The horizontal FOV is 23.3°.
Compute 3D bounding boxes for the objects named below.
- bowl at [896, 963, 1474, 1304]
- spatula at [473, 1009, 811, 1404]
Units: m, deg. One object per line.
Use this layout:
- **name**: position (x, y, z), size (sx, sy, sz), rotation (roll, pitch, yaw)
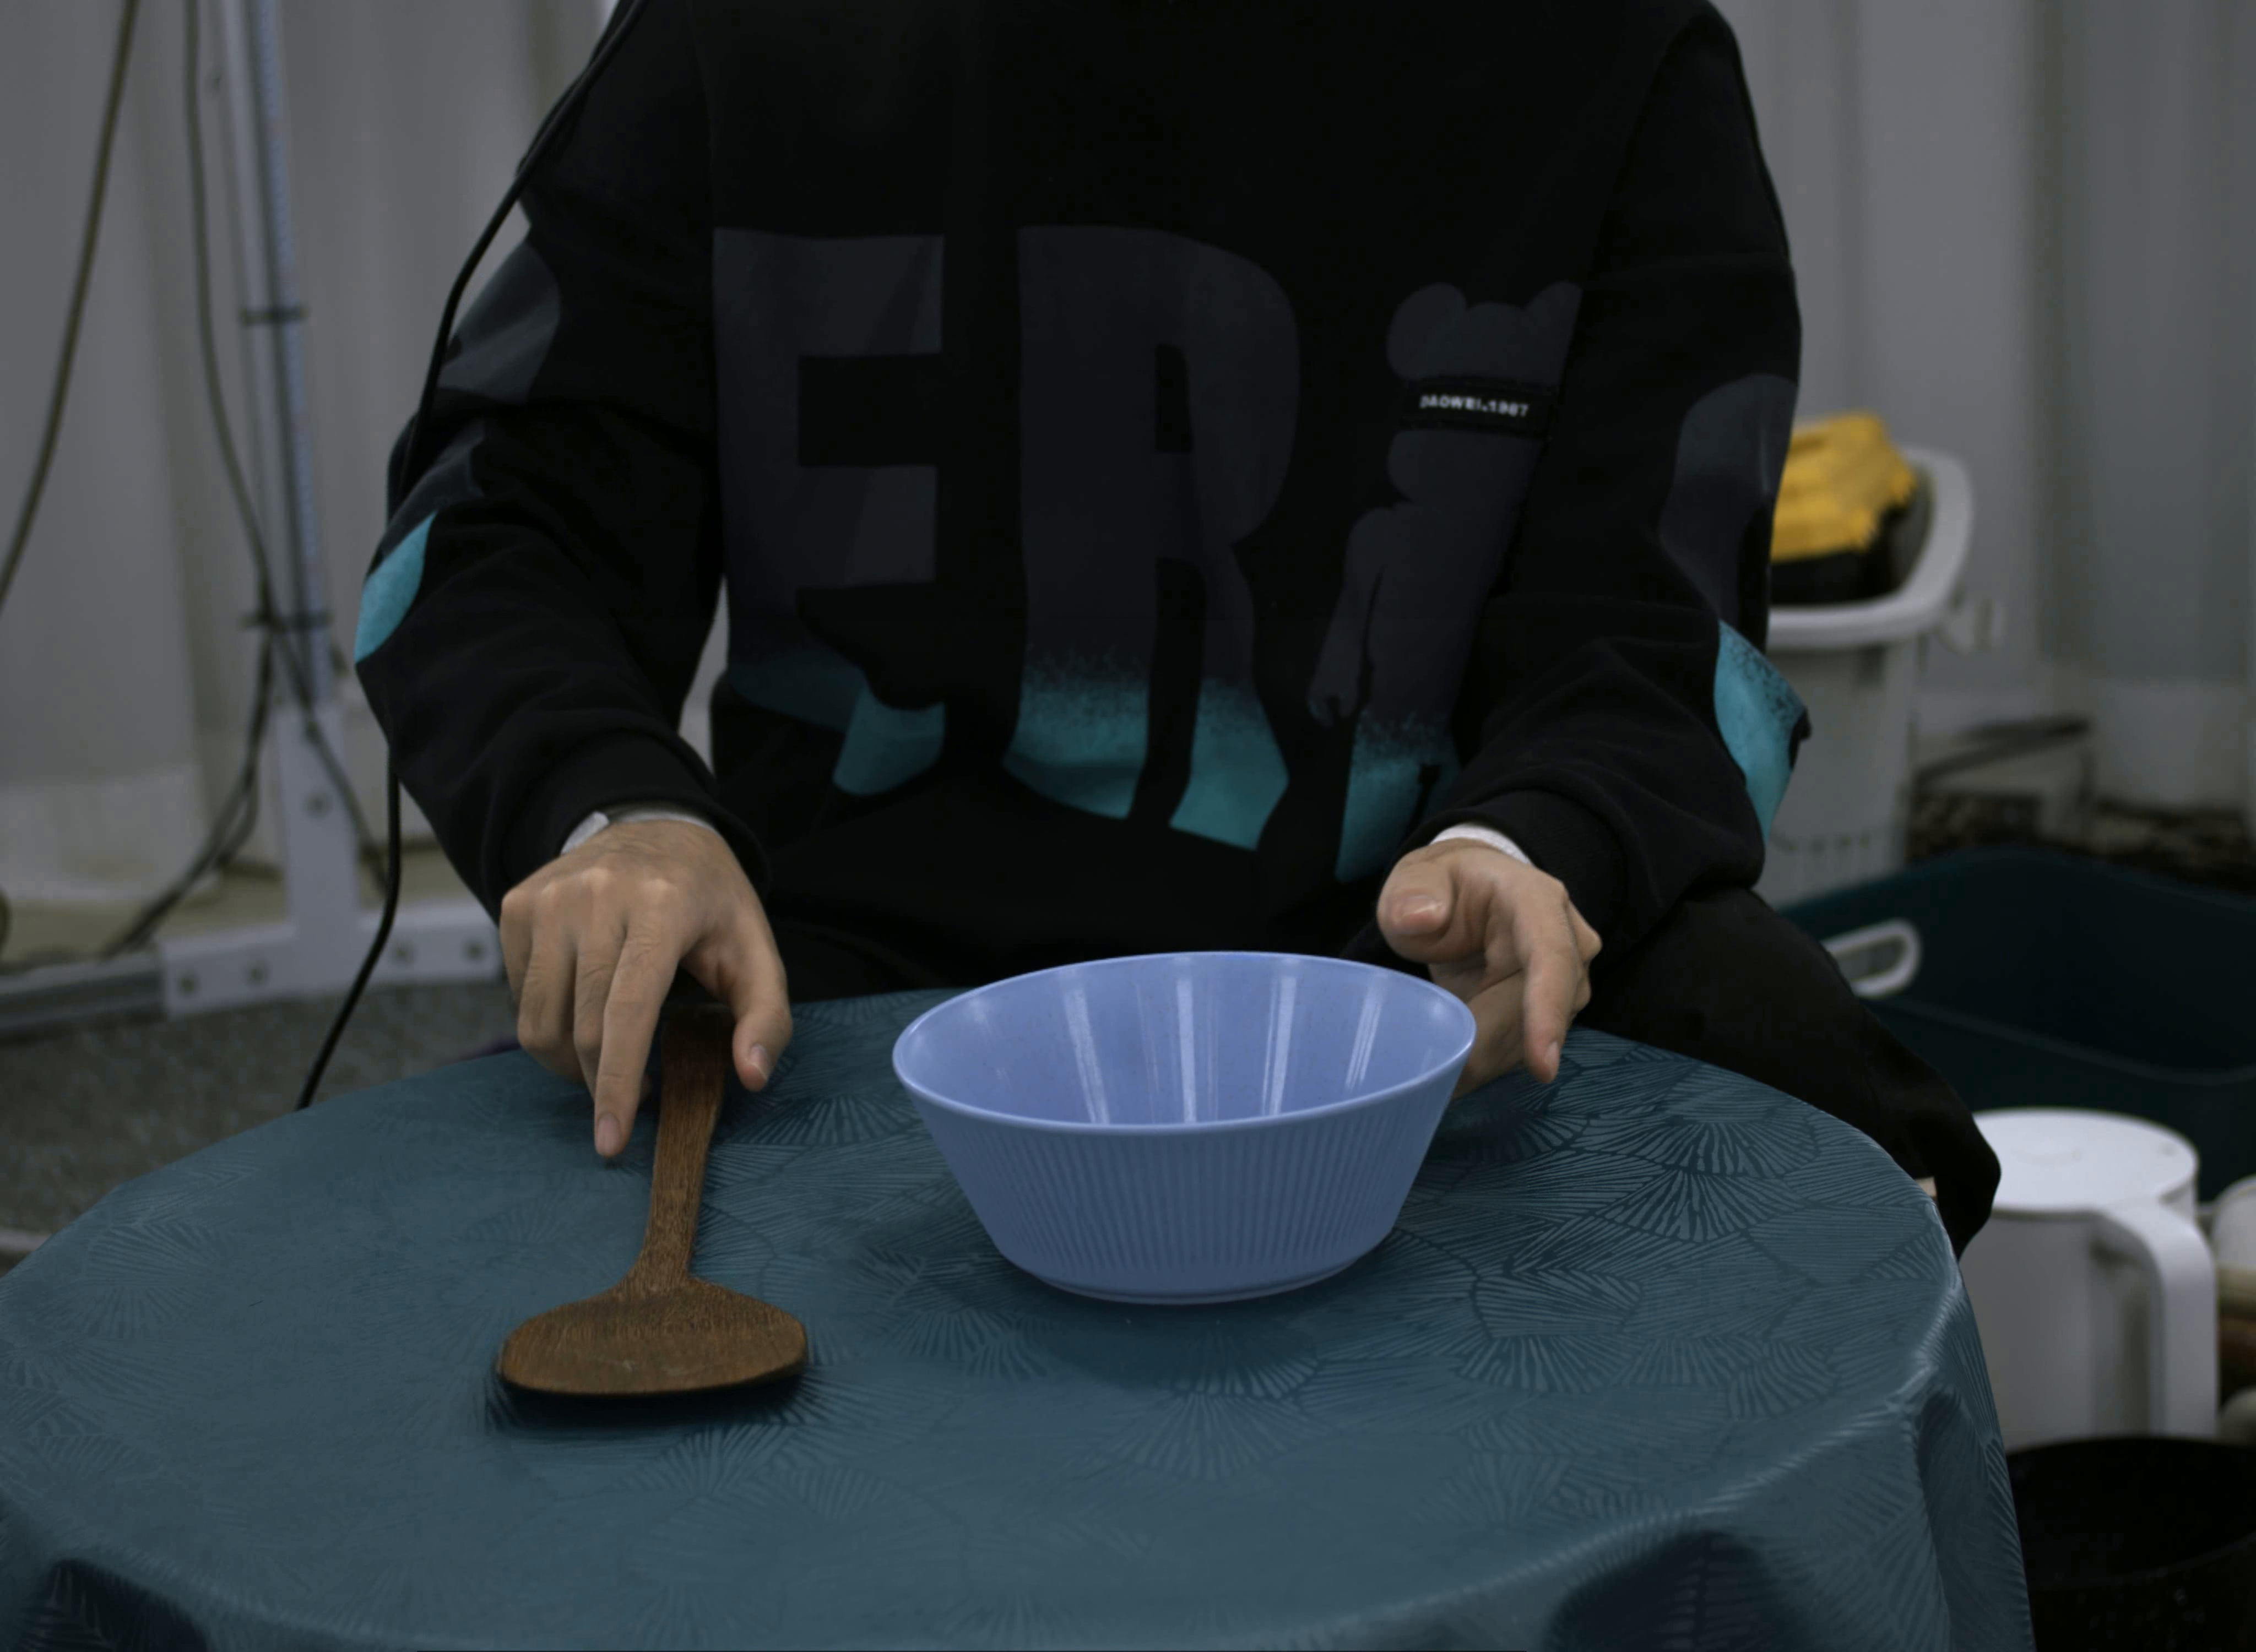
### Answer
- **bowl**: position (0.018, 0.095, 1.652), size (0.175, 0.070, 0.177), rotation (-3, 13, 0)
- **spatula**: position (-0.142, 0.113, 1.718), size (0.096, 0.016, 0.388), rotation (-2, 15, -1)
